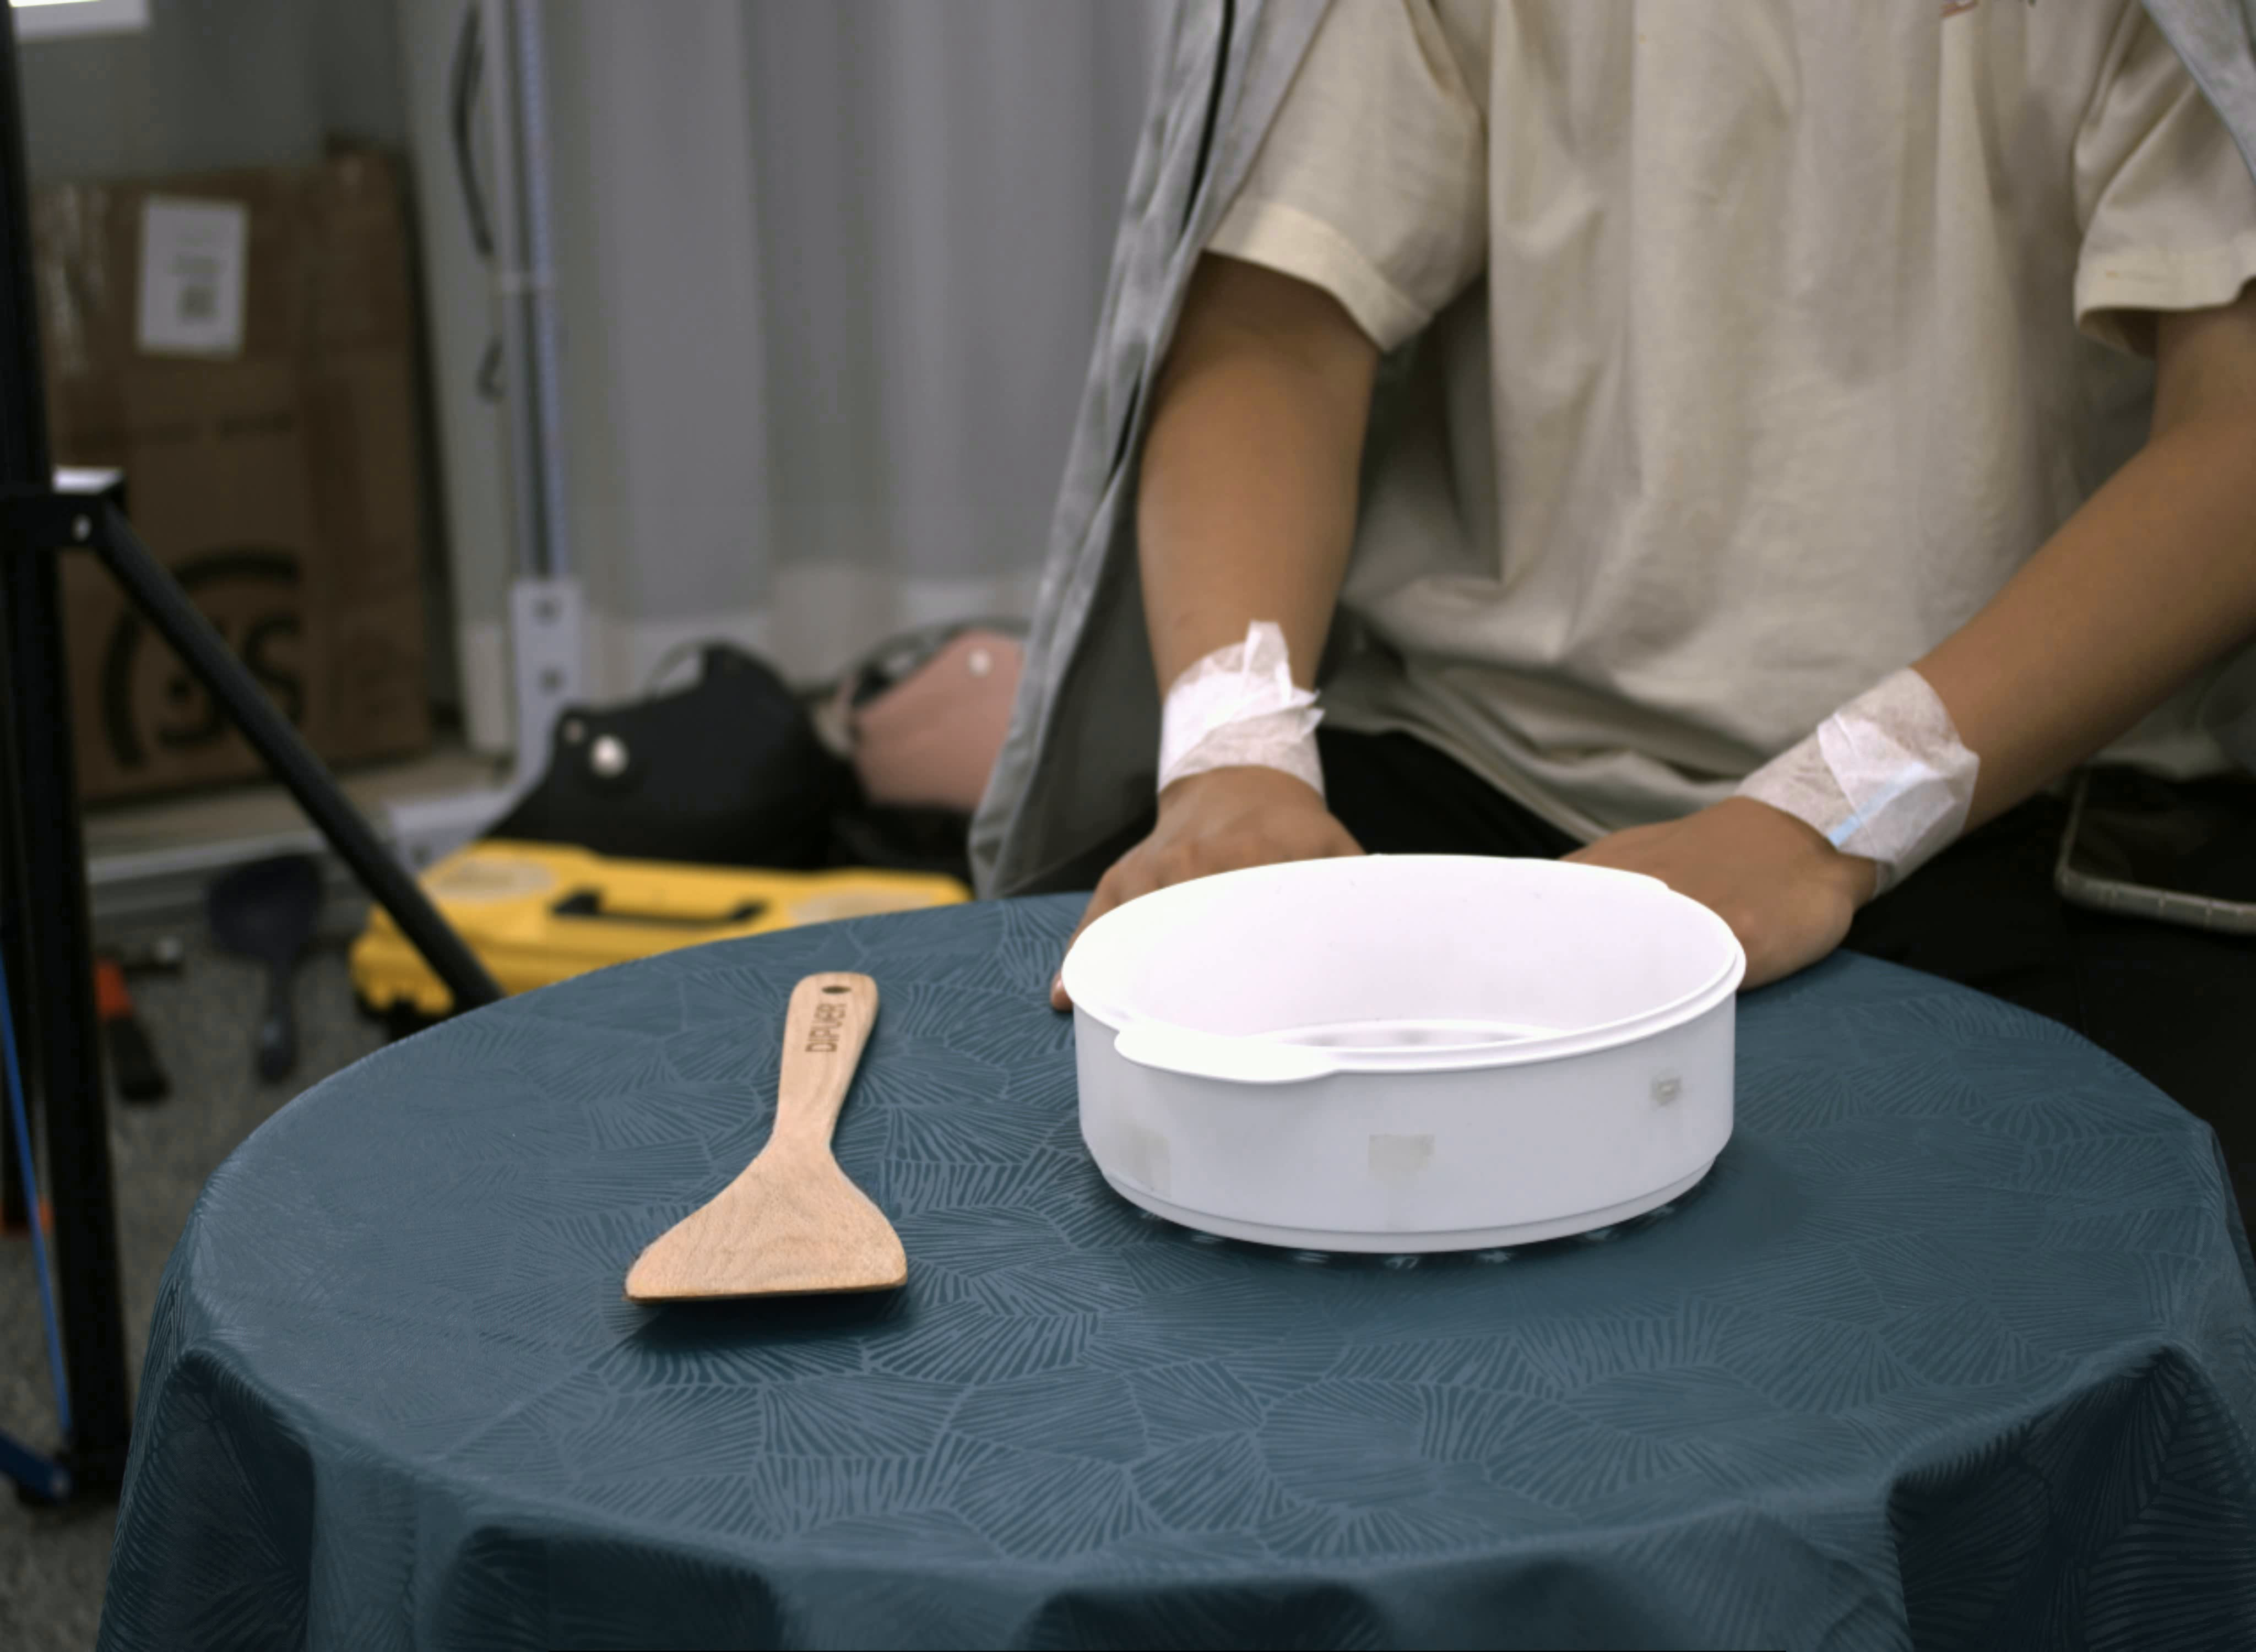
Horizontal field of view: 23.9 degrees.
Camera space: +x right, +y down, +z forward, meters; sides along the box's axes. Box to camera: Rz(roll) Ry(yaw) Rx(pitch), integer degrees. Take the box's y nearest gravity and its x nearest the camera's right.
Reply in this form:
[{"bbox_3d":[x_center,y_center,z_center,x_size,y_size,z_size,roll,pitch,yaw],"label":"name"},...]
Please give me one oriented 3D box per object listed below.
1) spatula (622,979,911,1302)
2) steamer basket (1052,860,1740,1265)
[{"bbox_3d":[-0.099,0.091,1.599,0.079,0.016,0.328,-2,15,1],"label":"spatula"},{"bbox_3d":[0.078,0.069,1.560,0.206,0.069,0.226,10,19,34],"label":"steamer basket"}]
